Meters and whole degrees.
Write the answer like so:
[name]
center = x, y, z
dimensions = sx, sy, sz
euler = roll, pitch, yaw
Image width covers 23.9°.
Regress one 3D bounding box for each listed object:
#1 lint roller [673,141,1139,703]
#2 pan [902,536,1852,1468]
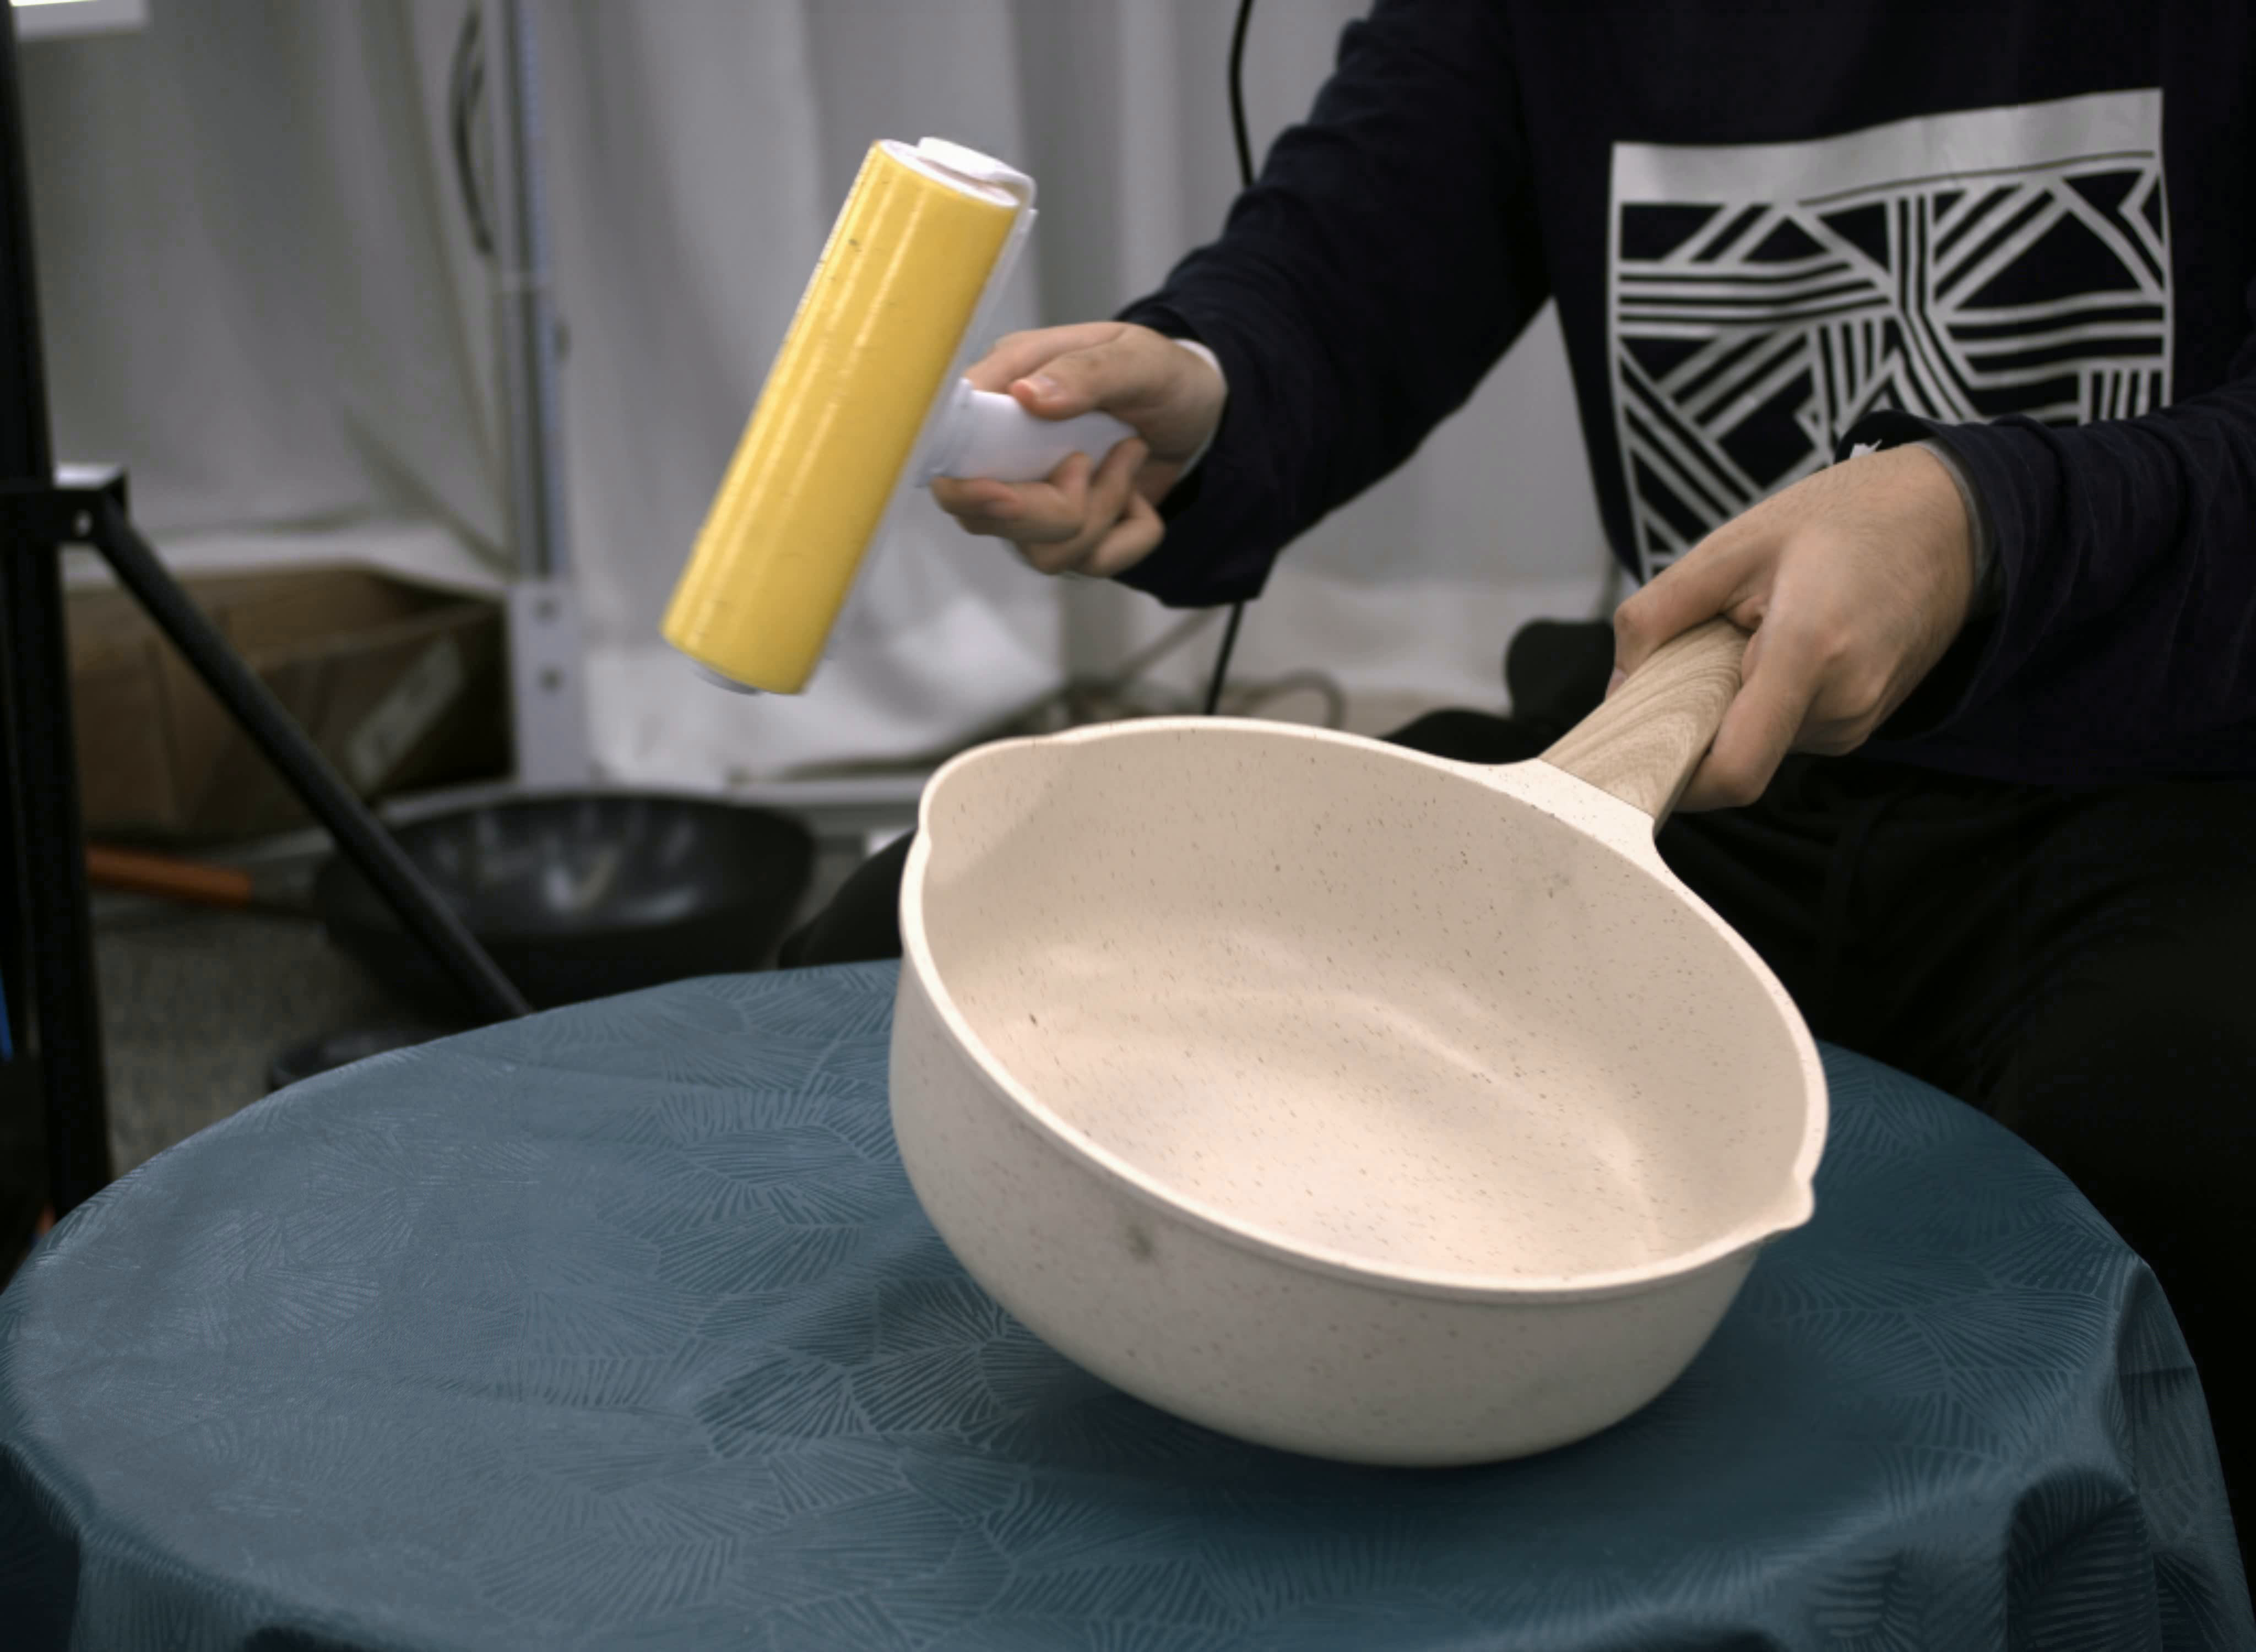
[lint roller]
center = -0.053, -0.120, 1.641
dimensions = 0.052, 0.175, 0.188
euler = 29, 13, 18
[pan]
center = 0.102, 0.035, 1.469
dimensions = 0.267, 0.102, 0.428
euler = 26, 32, 19
